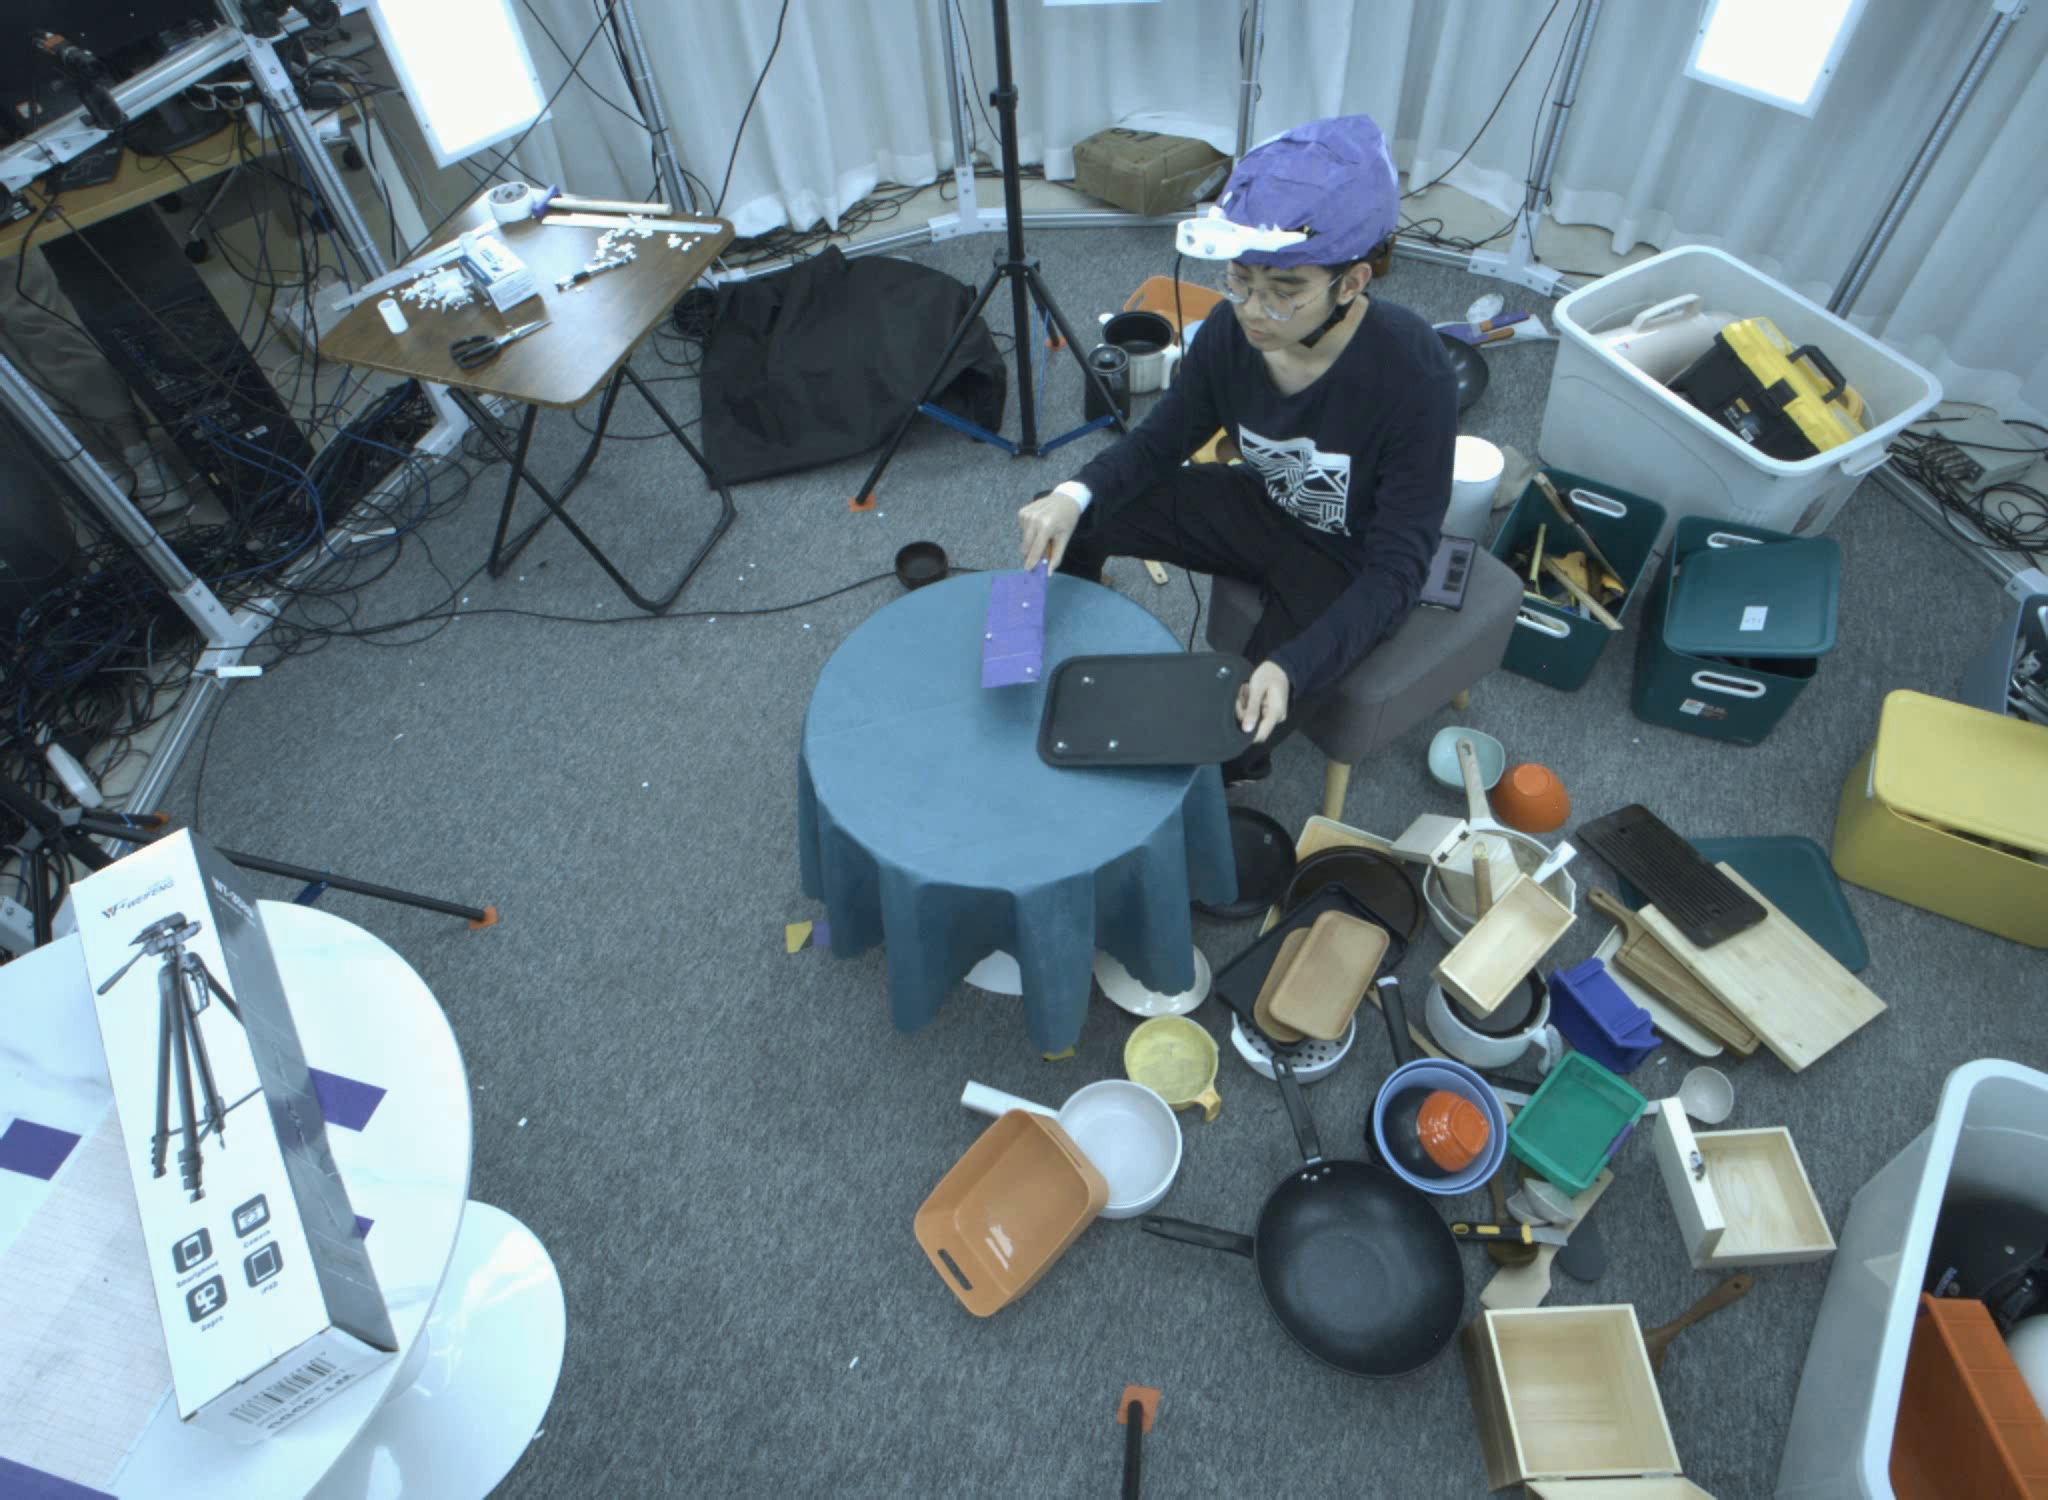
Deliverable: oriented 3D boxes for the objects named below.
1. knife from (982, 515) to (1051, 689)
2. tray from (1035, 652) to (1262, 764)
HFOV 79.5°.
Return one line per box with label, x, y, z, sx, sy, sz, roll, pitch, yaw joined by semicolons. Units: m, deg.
knife;-0.009;-0.227;1.847;0.103;0.033;0.312;-4;57;11
tray;0.183;-0.066;1.799;0.322;0.010;0.210;1;53;14
